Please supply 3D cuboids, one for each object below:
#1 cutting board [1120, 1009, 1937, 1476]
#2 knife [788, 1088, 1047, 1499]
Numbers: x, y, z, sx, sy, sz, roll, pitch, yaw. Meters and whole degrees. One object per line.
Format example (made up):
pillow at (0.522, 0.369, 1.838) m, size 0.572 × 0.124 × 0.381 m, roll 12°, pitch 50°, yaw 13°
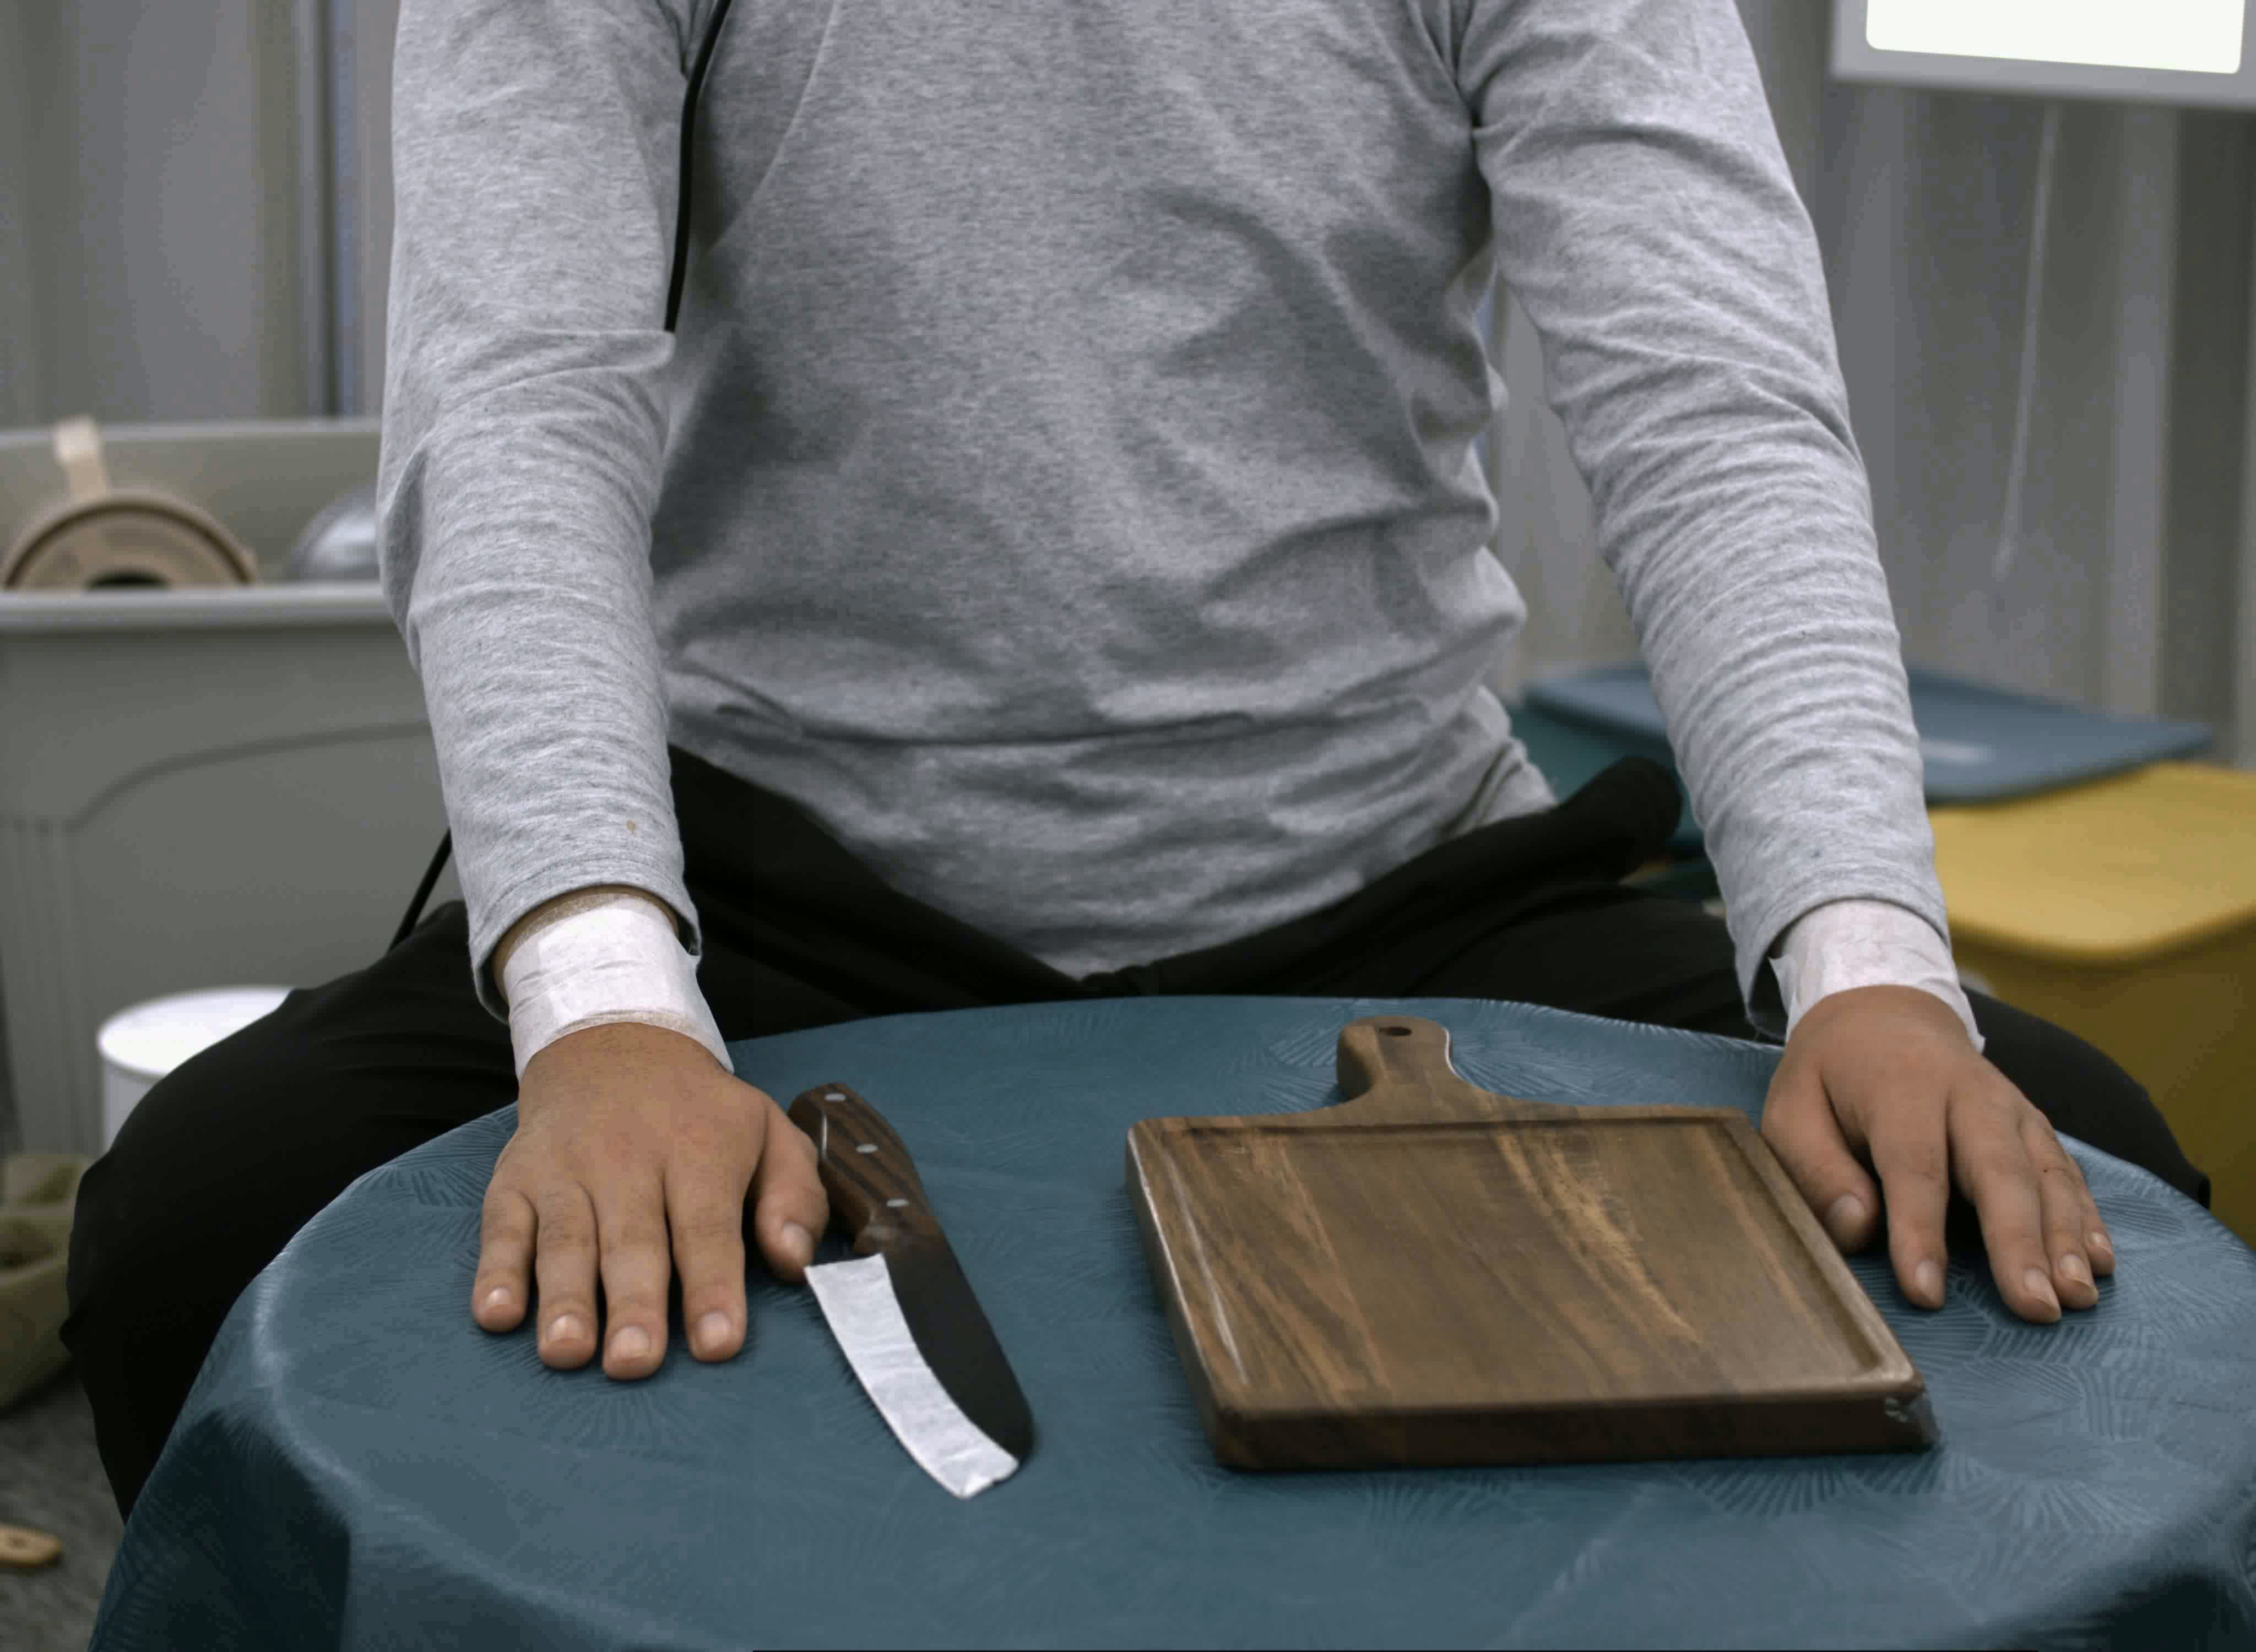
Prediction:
cutting board at (0.104, 0.117, 1.576) m, size 0.201 × 0.023 × 0.349 m, roll -1°, pitch 15°, yaw -6°
knife at (-0.066, 0.133, 1.519) m, size 0.050 × 0.020 × 0.286 m, roll -8°, pitch 19°, yaw -9°
